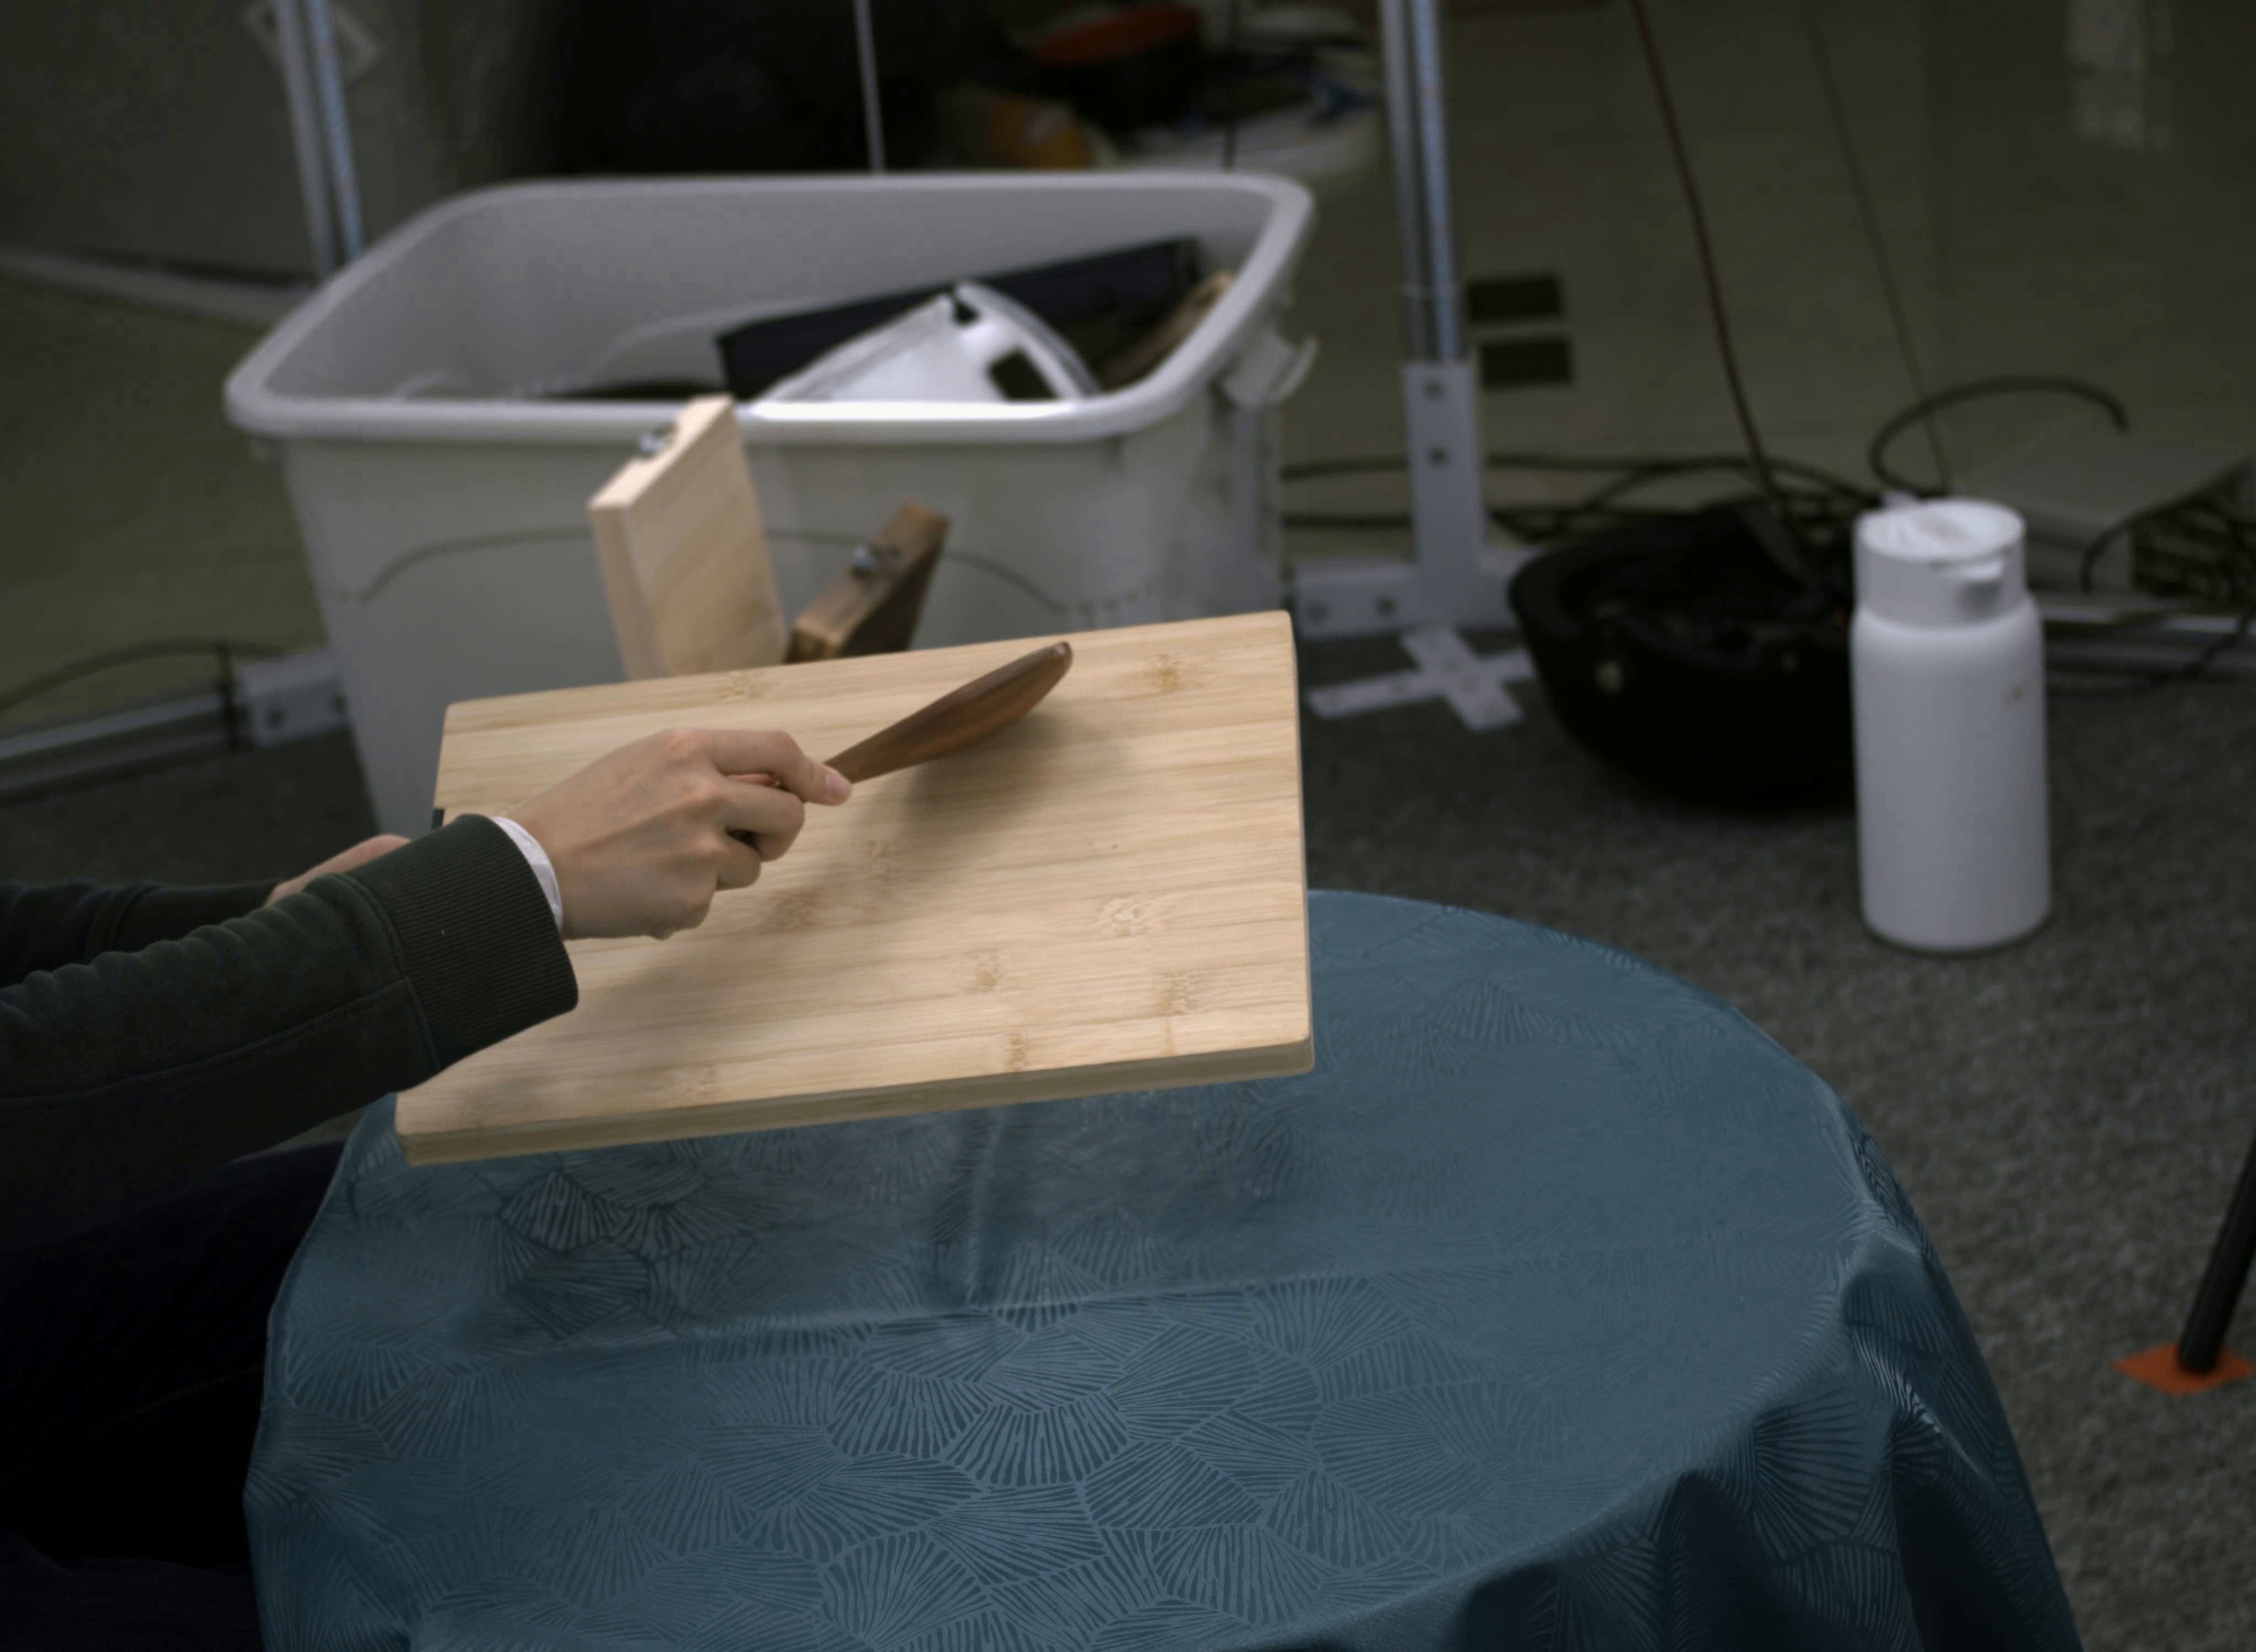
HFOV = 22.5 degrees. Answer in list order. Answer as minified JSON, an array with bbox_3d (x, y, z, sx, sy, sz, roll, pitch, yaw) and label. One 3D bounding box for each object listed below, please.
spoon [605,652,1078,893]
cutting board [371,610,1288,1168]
[{"bbox_3d":[-0.105,-0.020,2.125,0.214,0.017,0.076,-24,-5,-30],"label":"spoon"},{"bbox_3d":[-0.108,0.021,2.158,0.348,0.024,0.246,-7,43,5],"label":"cutting board"}]
